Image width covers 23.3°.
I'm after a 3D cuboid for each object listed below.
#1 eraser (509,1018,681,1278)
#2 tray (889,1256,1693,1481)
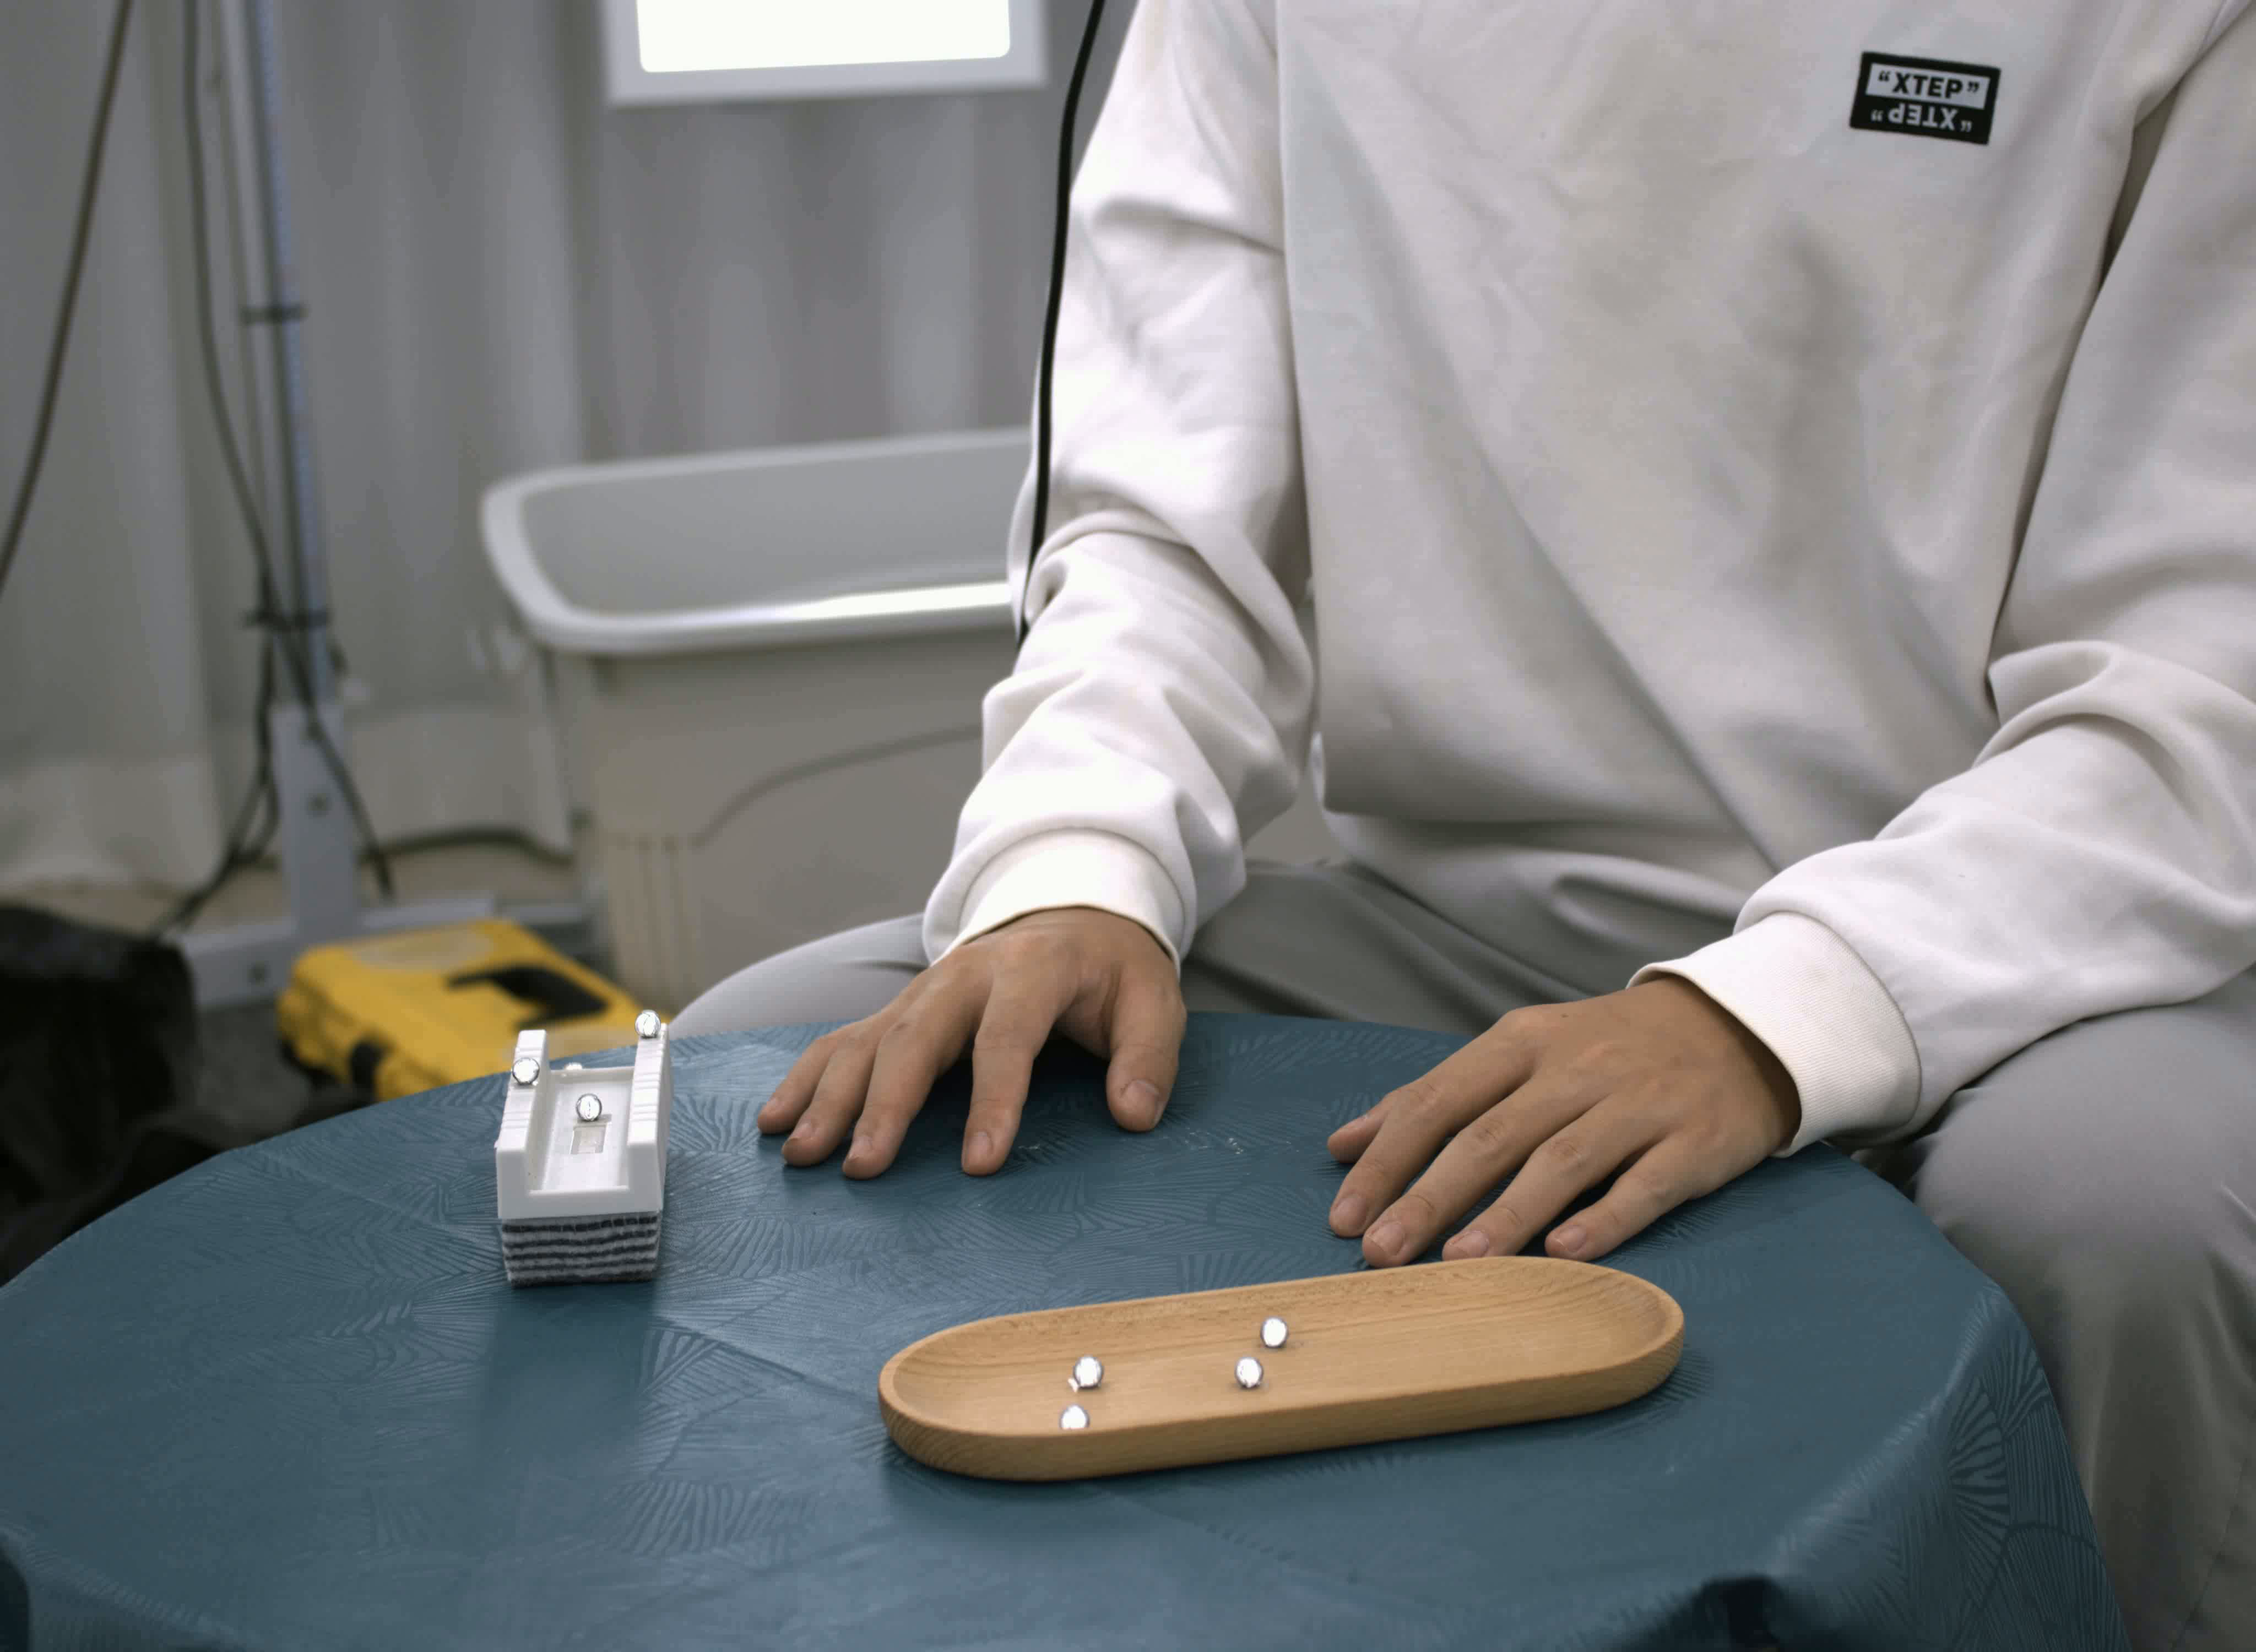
[{"bbox_3d":[-0.167,0.100,1.710,0.049,0.046,0.135,1,14,-8],"label":"eraser"},{"bbox_3d":[0.047,0.152,1.537,0.230,0.020,0.102,-5,16,-14],"label":"tray"}]
